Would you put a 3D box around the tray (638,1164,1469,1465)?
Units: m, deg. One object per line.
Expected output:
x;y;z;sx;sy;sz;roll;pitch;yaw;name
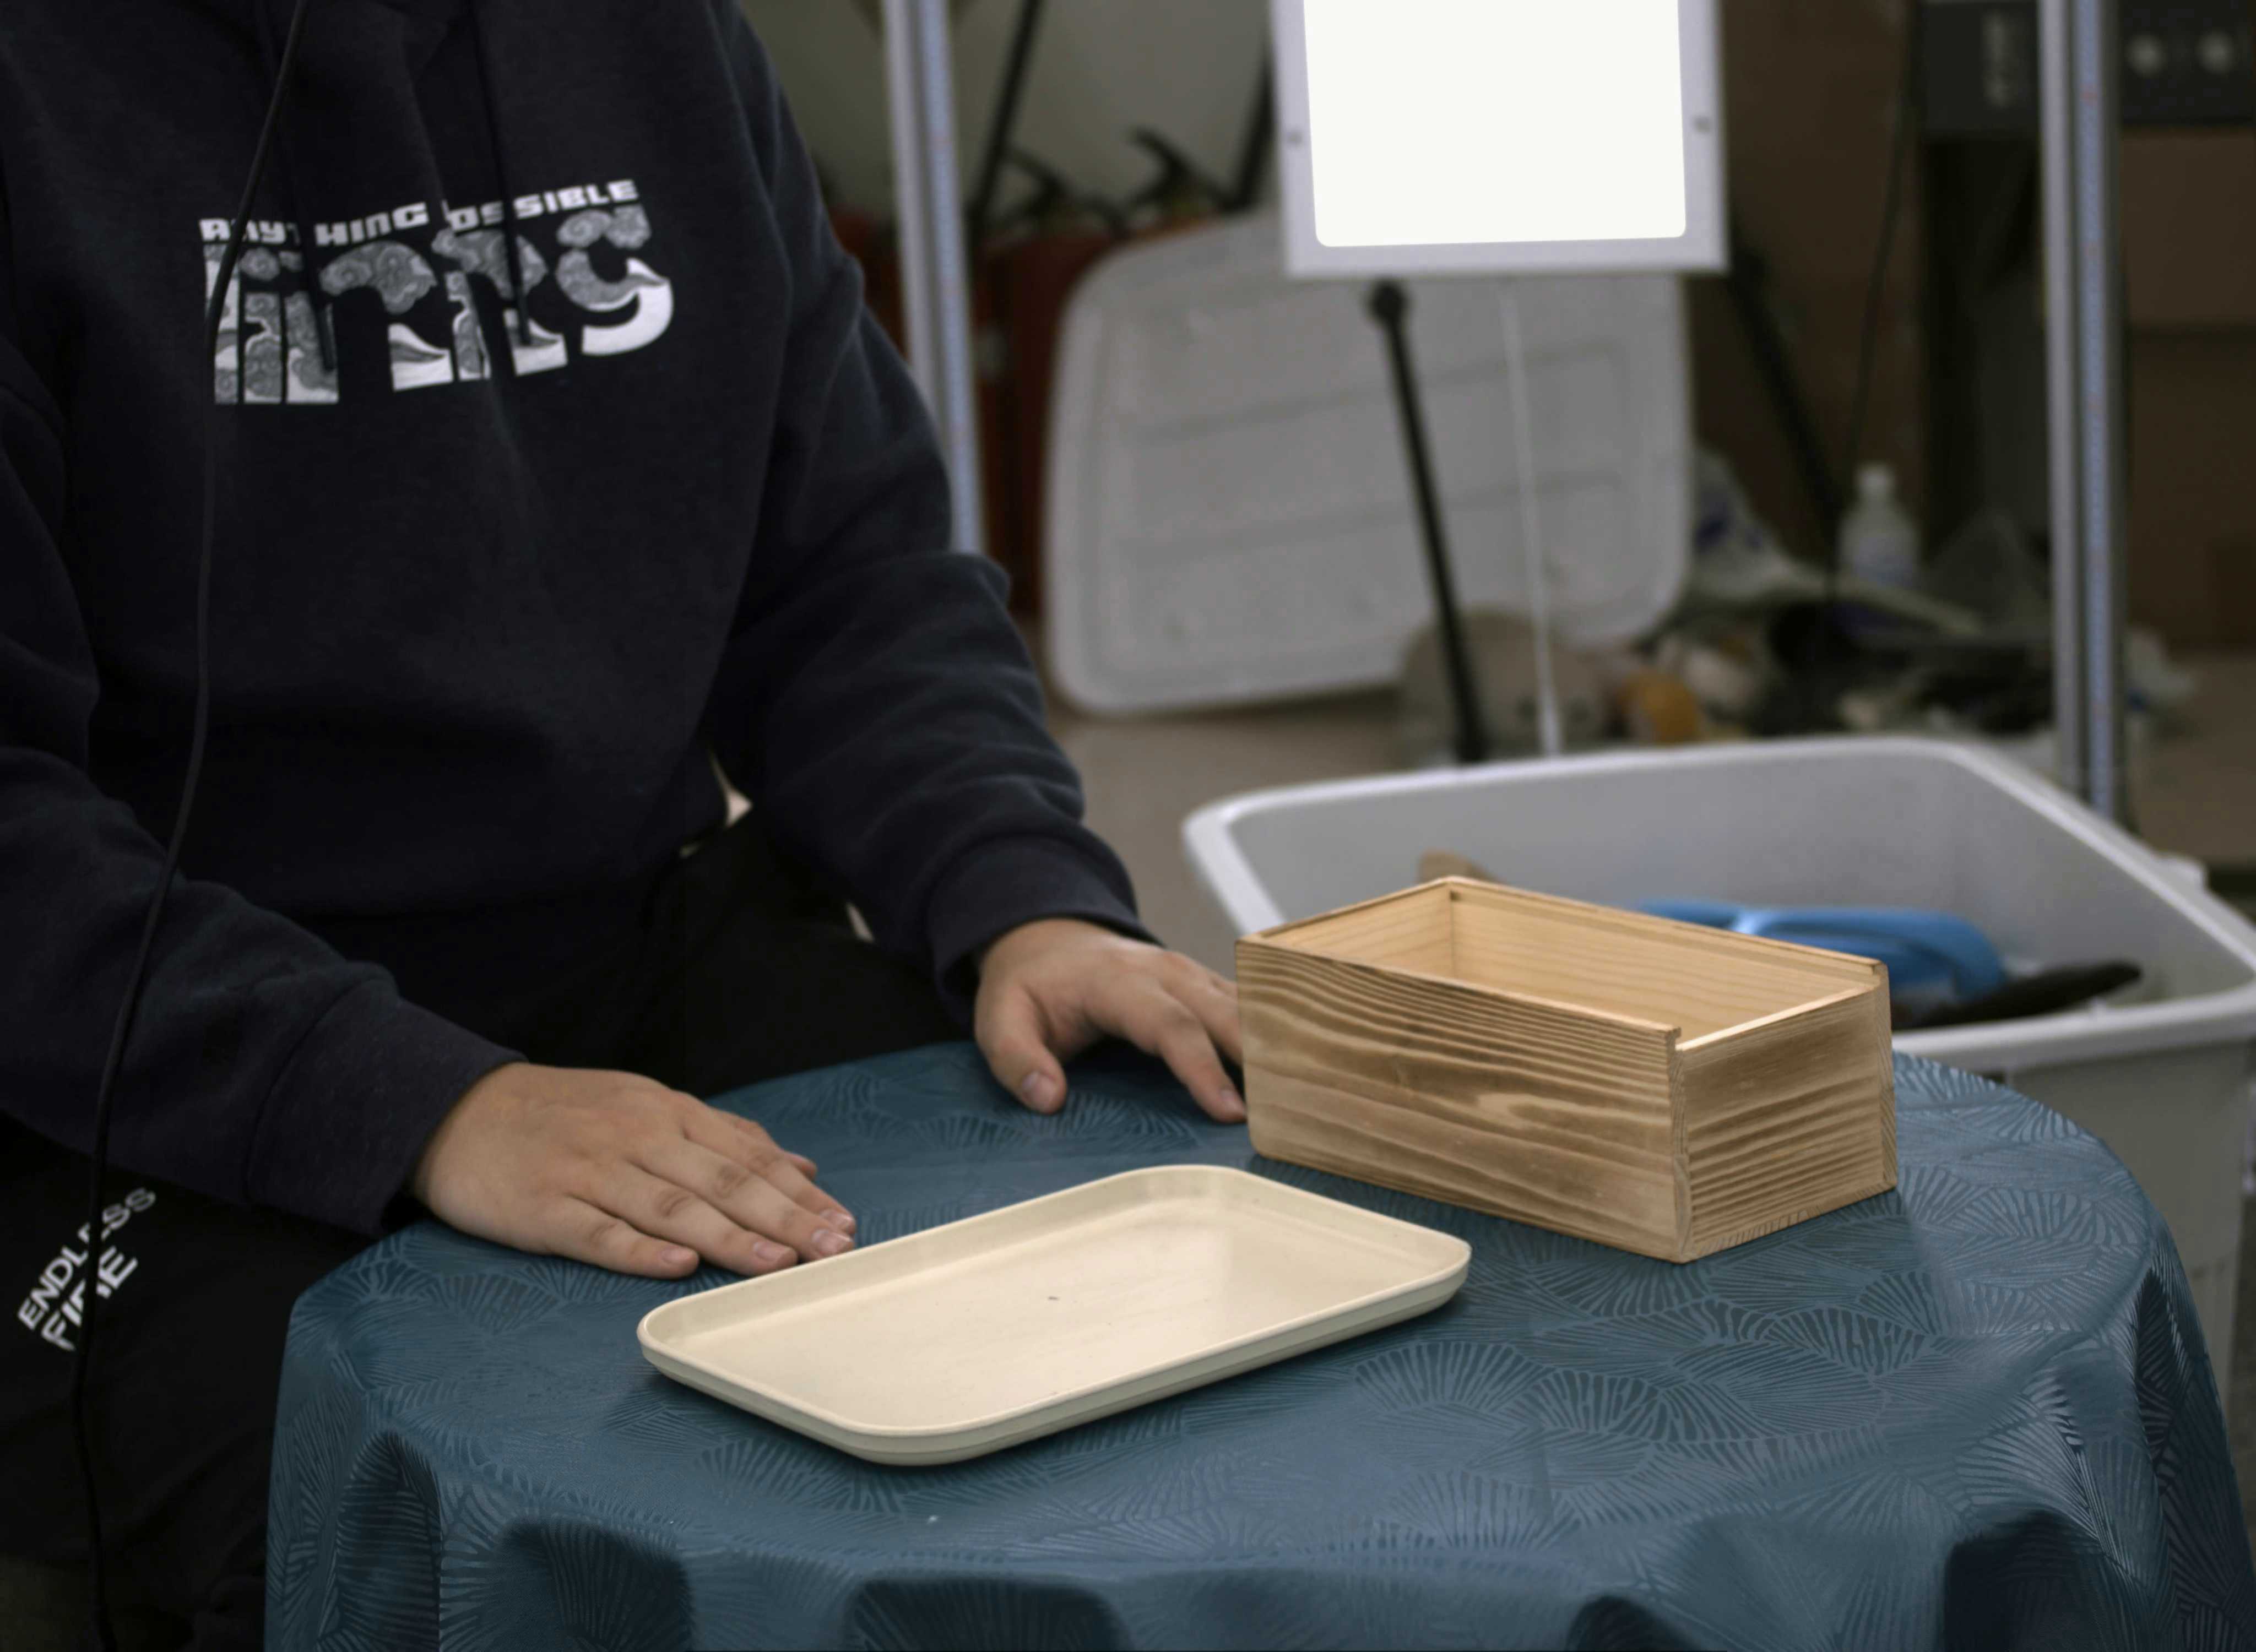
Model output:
-0.022;0.154;1.754;0.234;0.017;0.175;-14;16;-33;tray

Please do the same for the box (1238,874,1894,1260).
0.148;0.079;1.873;0.105;0.080;0.216;-15;16;-37;box
